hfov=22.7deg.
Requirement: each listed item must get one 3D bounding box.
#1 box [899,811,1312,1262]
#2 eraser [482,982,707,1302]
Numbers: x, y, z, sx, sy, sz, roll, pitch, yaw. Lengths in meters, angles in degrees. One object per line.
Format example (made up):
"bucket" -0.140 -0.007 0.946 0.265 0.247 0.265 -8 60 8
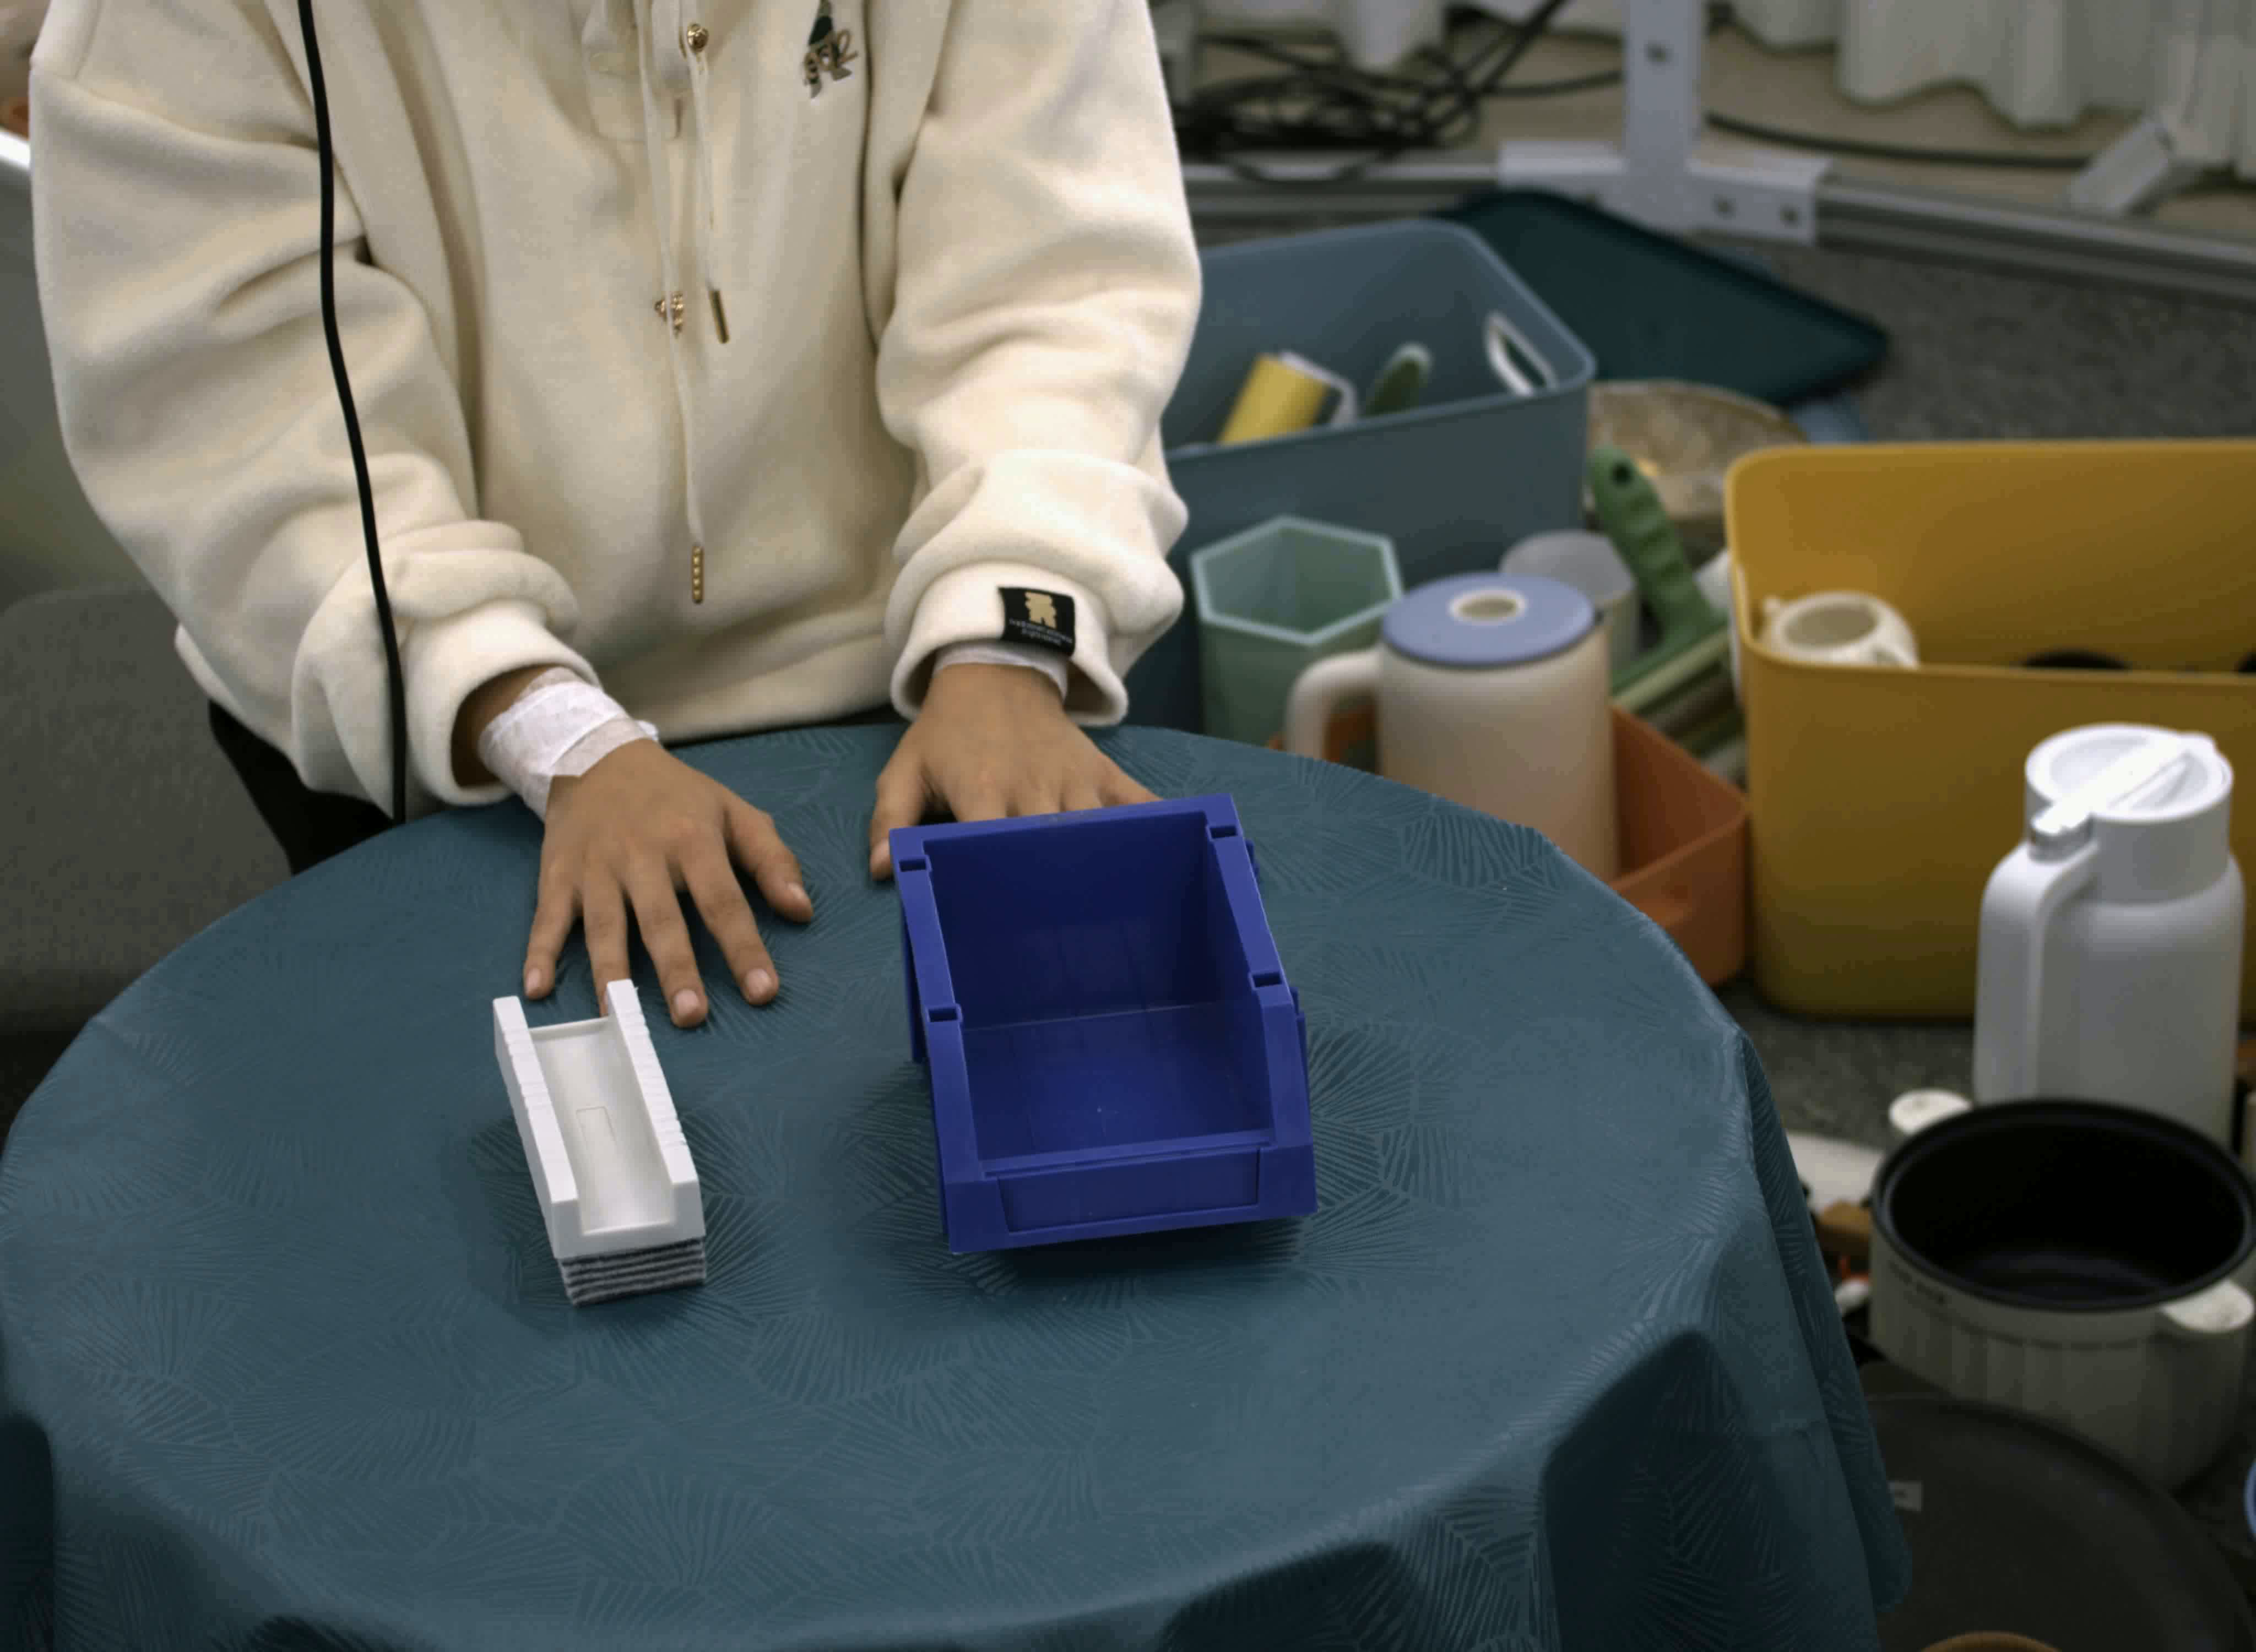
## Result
"box" -0.007 0.075 1.865 0.124 0.081 0.182 -5 25 -3
"eraser" -0.177 0.104 1.862 0.050 0.046 0.135 -11 30 -12
